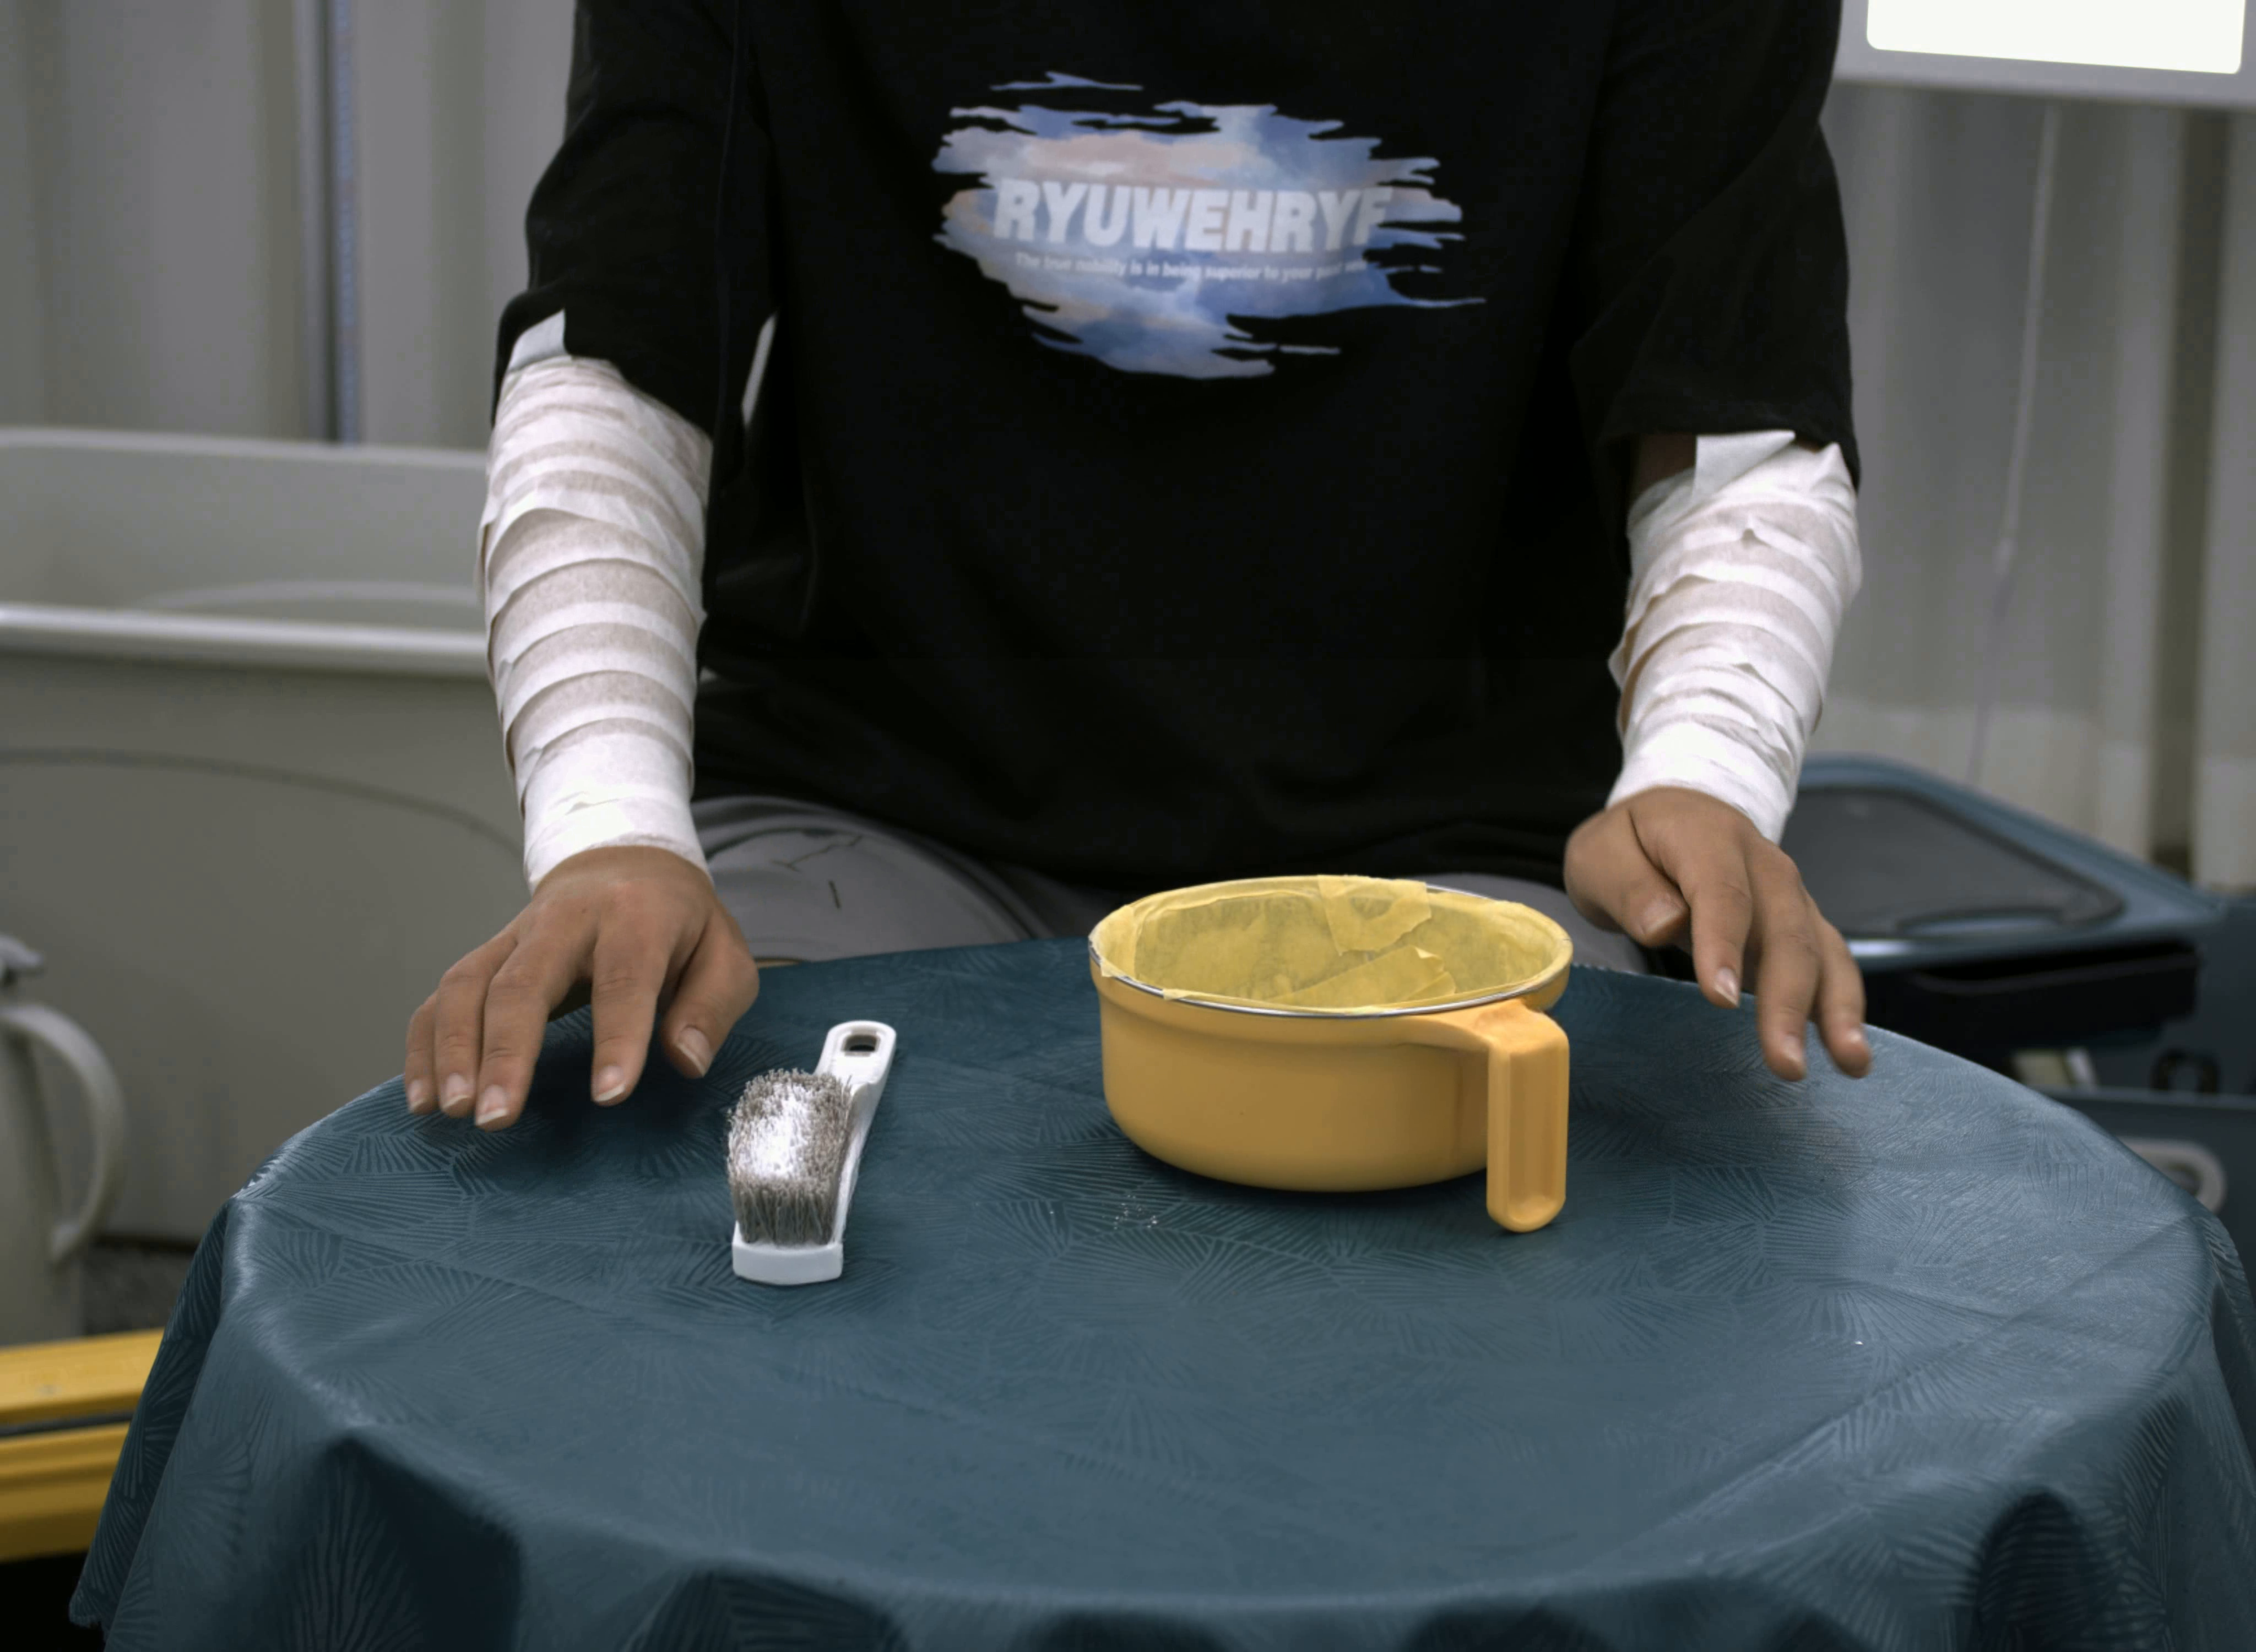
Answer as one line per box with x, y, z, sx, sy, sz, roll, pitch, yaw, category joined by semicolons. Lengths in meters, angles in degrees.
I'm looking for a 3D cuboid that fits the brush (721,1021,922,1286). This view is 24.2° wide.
-0.092;0.081;1.638;0.034;0.050;0.243;1;16;6;brush

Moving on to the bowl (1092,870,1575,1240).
0.070;0.070;1.651;0.154;0.075;0.177;-6;17;-38;bowl
